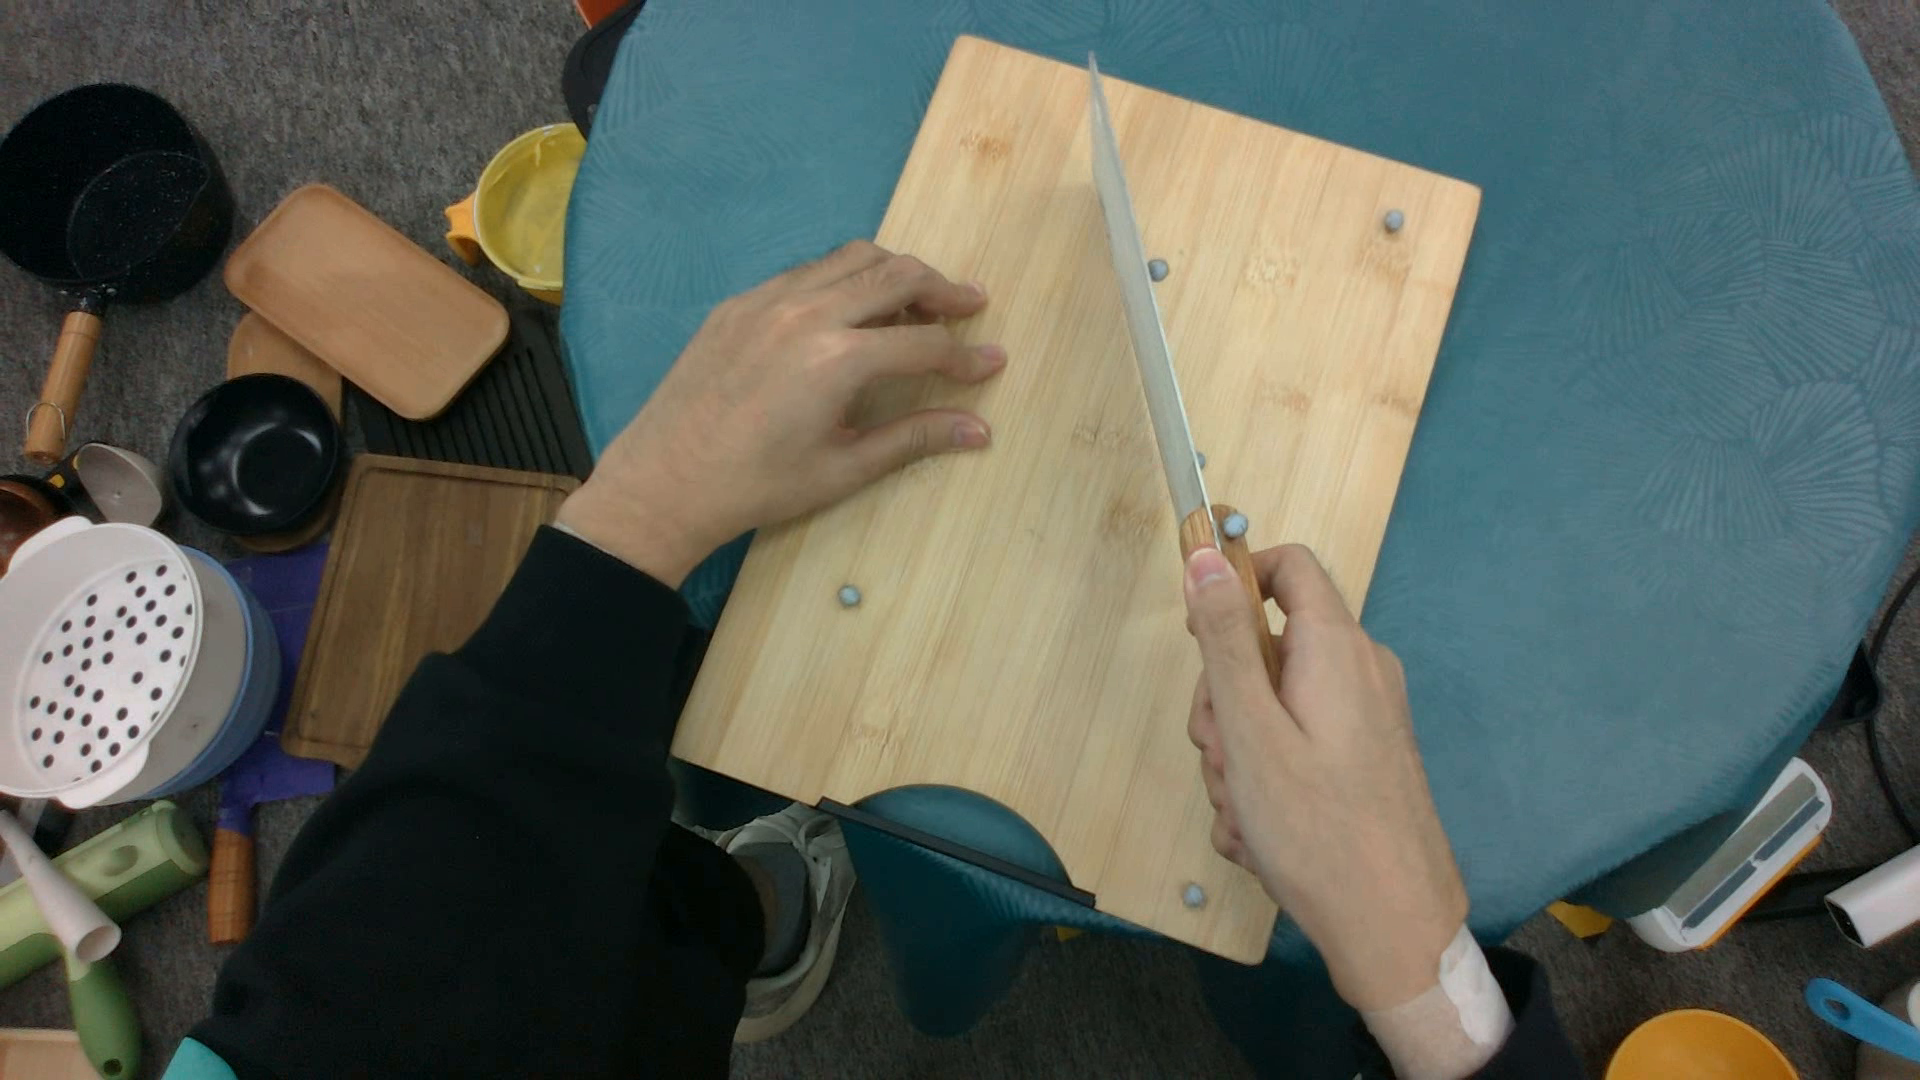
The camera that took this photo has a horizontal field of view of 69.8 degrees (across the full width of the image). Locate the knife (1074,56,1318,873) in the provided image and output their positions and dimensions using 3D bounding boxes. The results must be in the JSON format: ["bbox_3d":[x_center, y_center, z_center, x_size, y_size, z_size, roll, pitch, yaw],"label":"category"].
[{"bbox_3d":[0.077,-0.030,0.506,0.021,0.092,0.306,-12,72,1],"label":"knife"}]

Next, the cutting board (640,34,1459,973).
[{"bbox_3d":[0.047,-0.031,0.572,0.250,0.023,0.349,17,75,5],"label":"cutting board"}]
